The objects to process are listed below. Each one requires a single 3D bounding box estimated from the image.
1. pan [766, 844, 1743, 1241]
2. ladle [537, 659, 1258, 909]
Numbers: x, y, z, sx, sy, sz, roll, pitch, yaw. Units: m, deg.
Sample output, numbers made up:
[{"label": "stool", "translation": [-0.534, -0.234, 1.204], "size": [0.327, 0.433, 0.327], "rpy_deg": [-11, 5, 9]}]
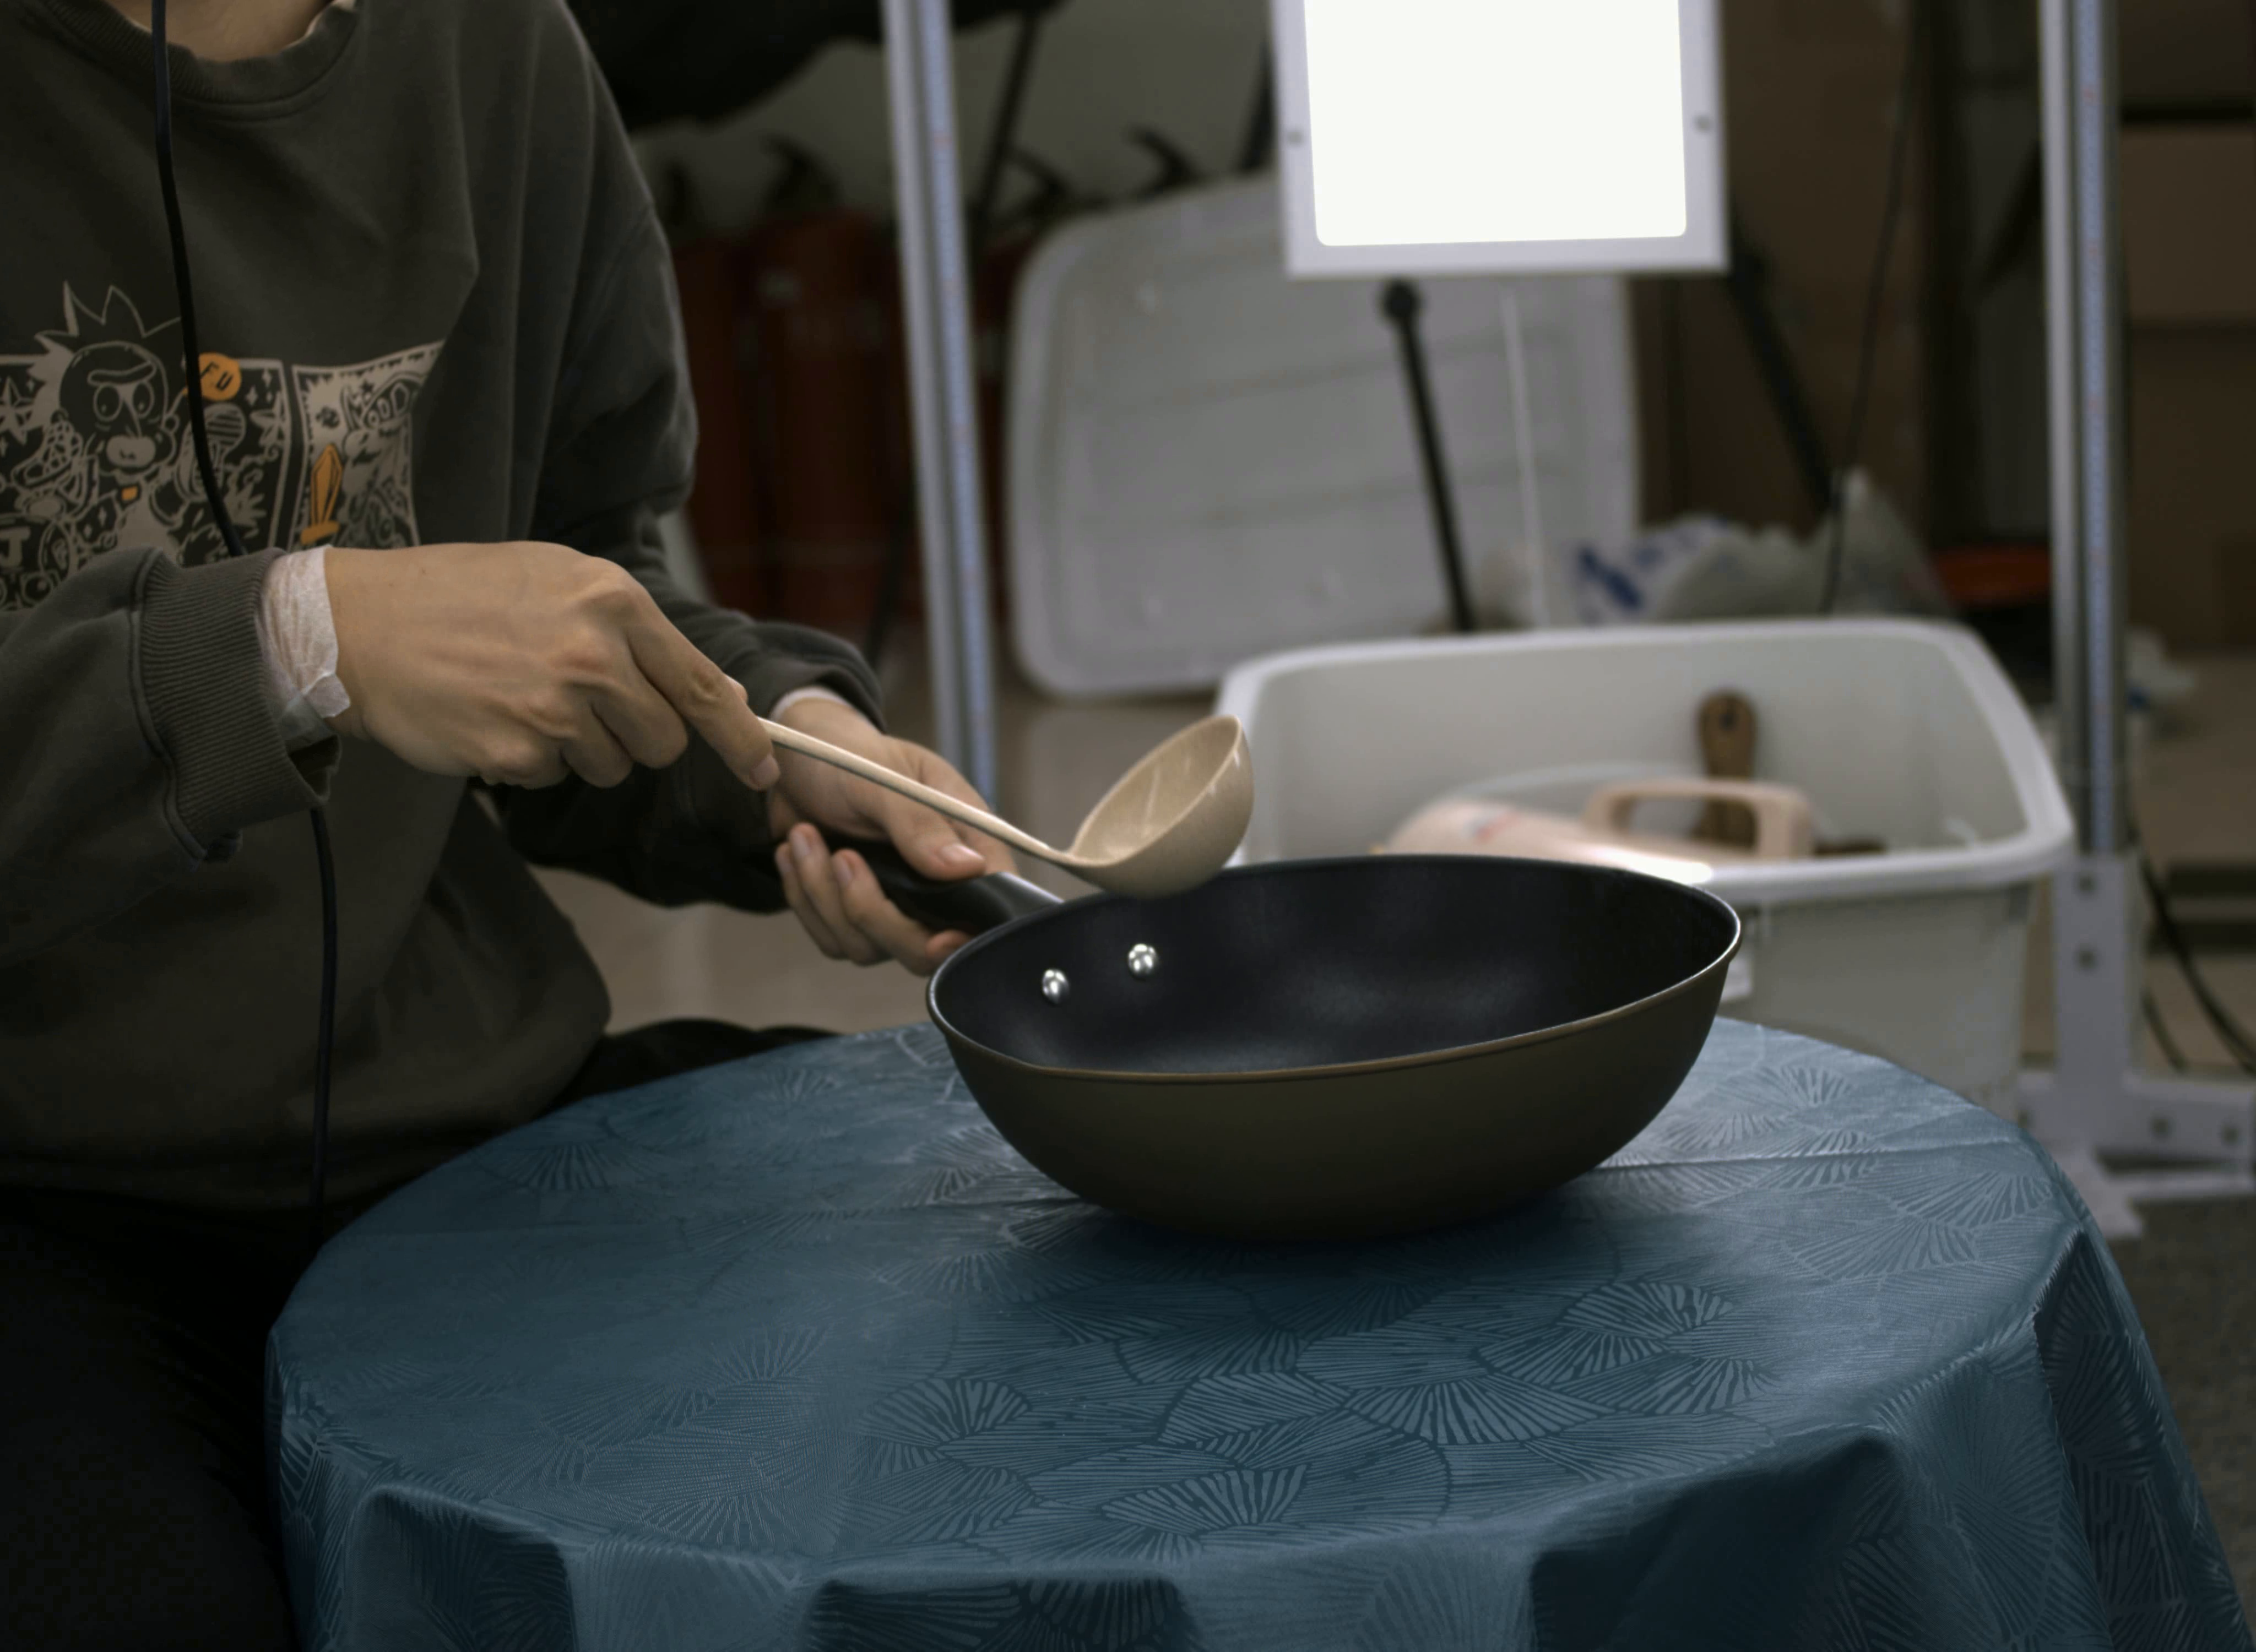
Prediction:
[{"label": "pan", "translation": [0.013, 0.070, 1.948], "size": [0.281, 0.087, 0.473], "rpy_deg": [-16, 16, -37]}, {"label": "ladle", "translation": [-0.072, -0.041, 1.837], "size": [0.250, 0.073, 0.073], "rpy_deg": [22, -1, -23]}]
